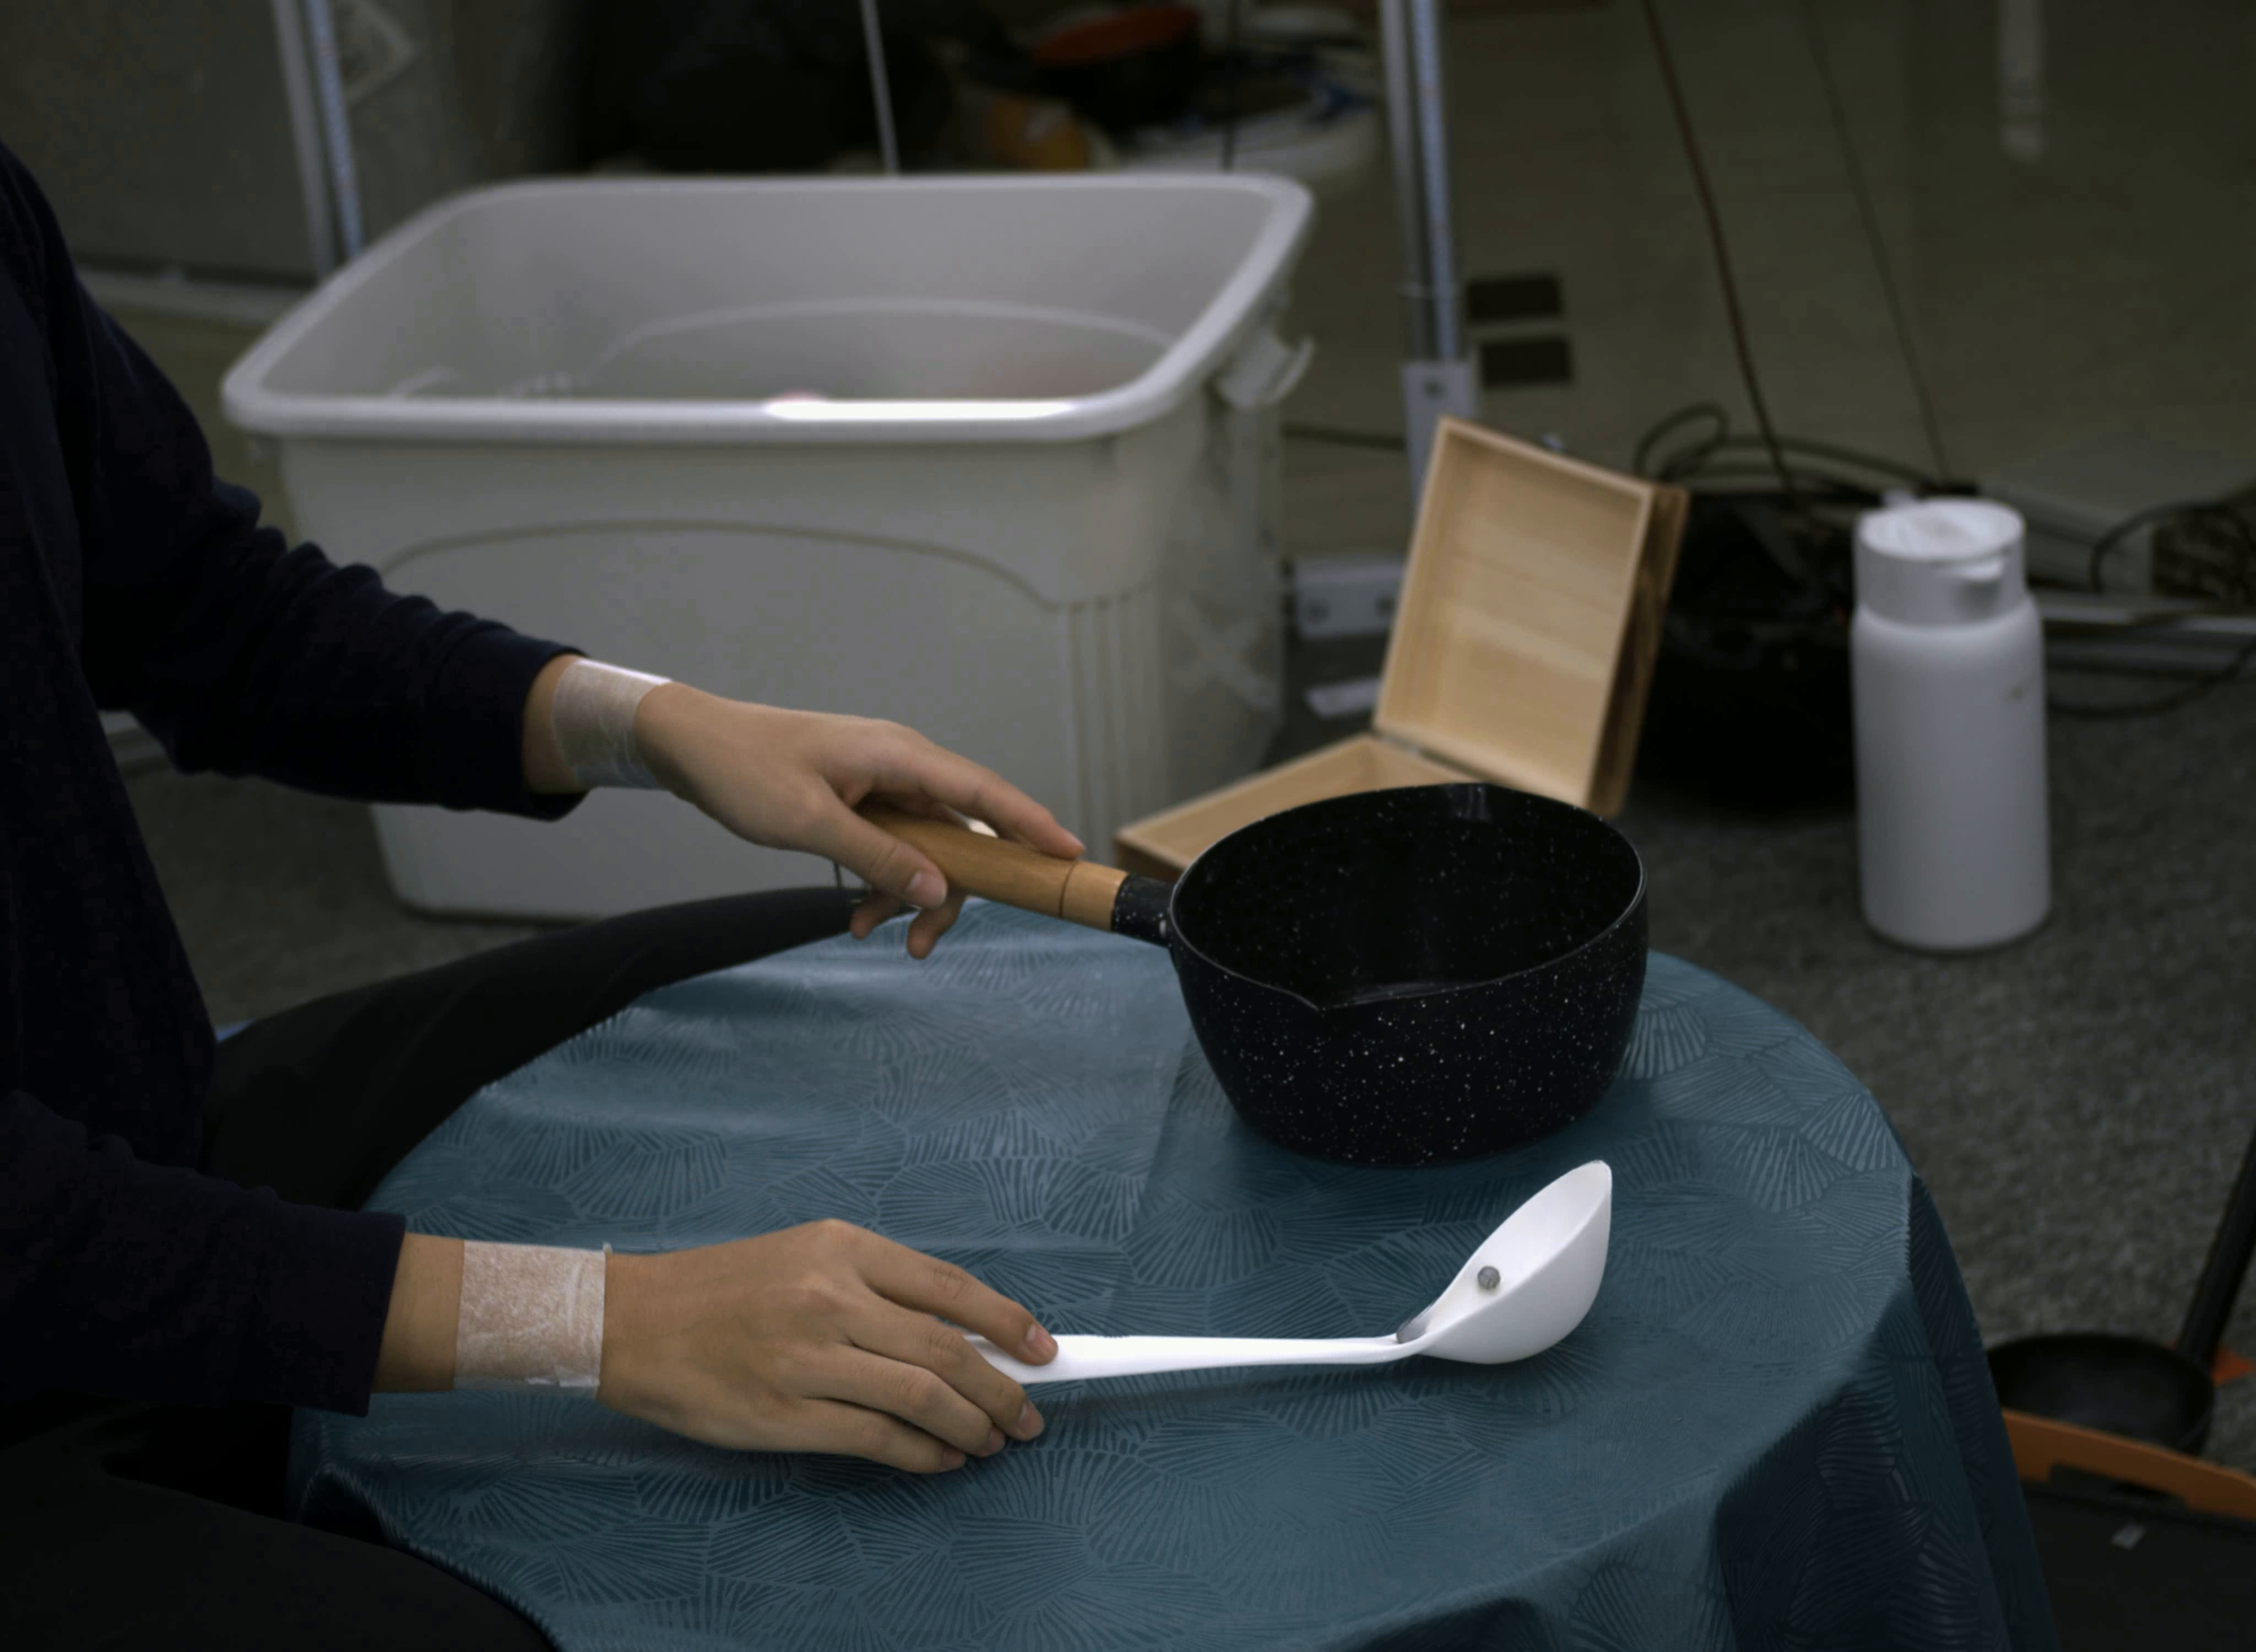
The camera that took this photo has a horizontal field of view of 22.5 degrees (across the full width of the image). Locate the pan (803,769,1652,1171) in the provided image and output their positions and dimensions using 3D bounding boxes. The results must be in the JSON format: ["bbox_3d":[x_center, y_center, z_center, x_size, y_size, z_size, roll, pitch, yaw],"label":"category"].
[{"bbox_3d":[0.035,0.046,2.207,0.342,0.110,0.204,4,28,18],"label":"pan"}]

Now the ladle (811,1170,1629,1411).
[{"bbox_3d":[0.032,0.167,2.000,0.292,0.071,0.089,-2,15,2],"label":"ladle"}]
